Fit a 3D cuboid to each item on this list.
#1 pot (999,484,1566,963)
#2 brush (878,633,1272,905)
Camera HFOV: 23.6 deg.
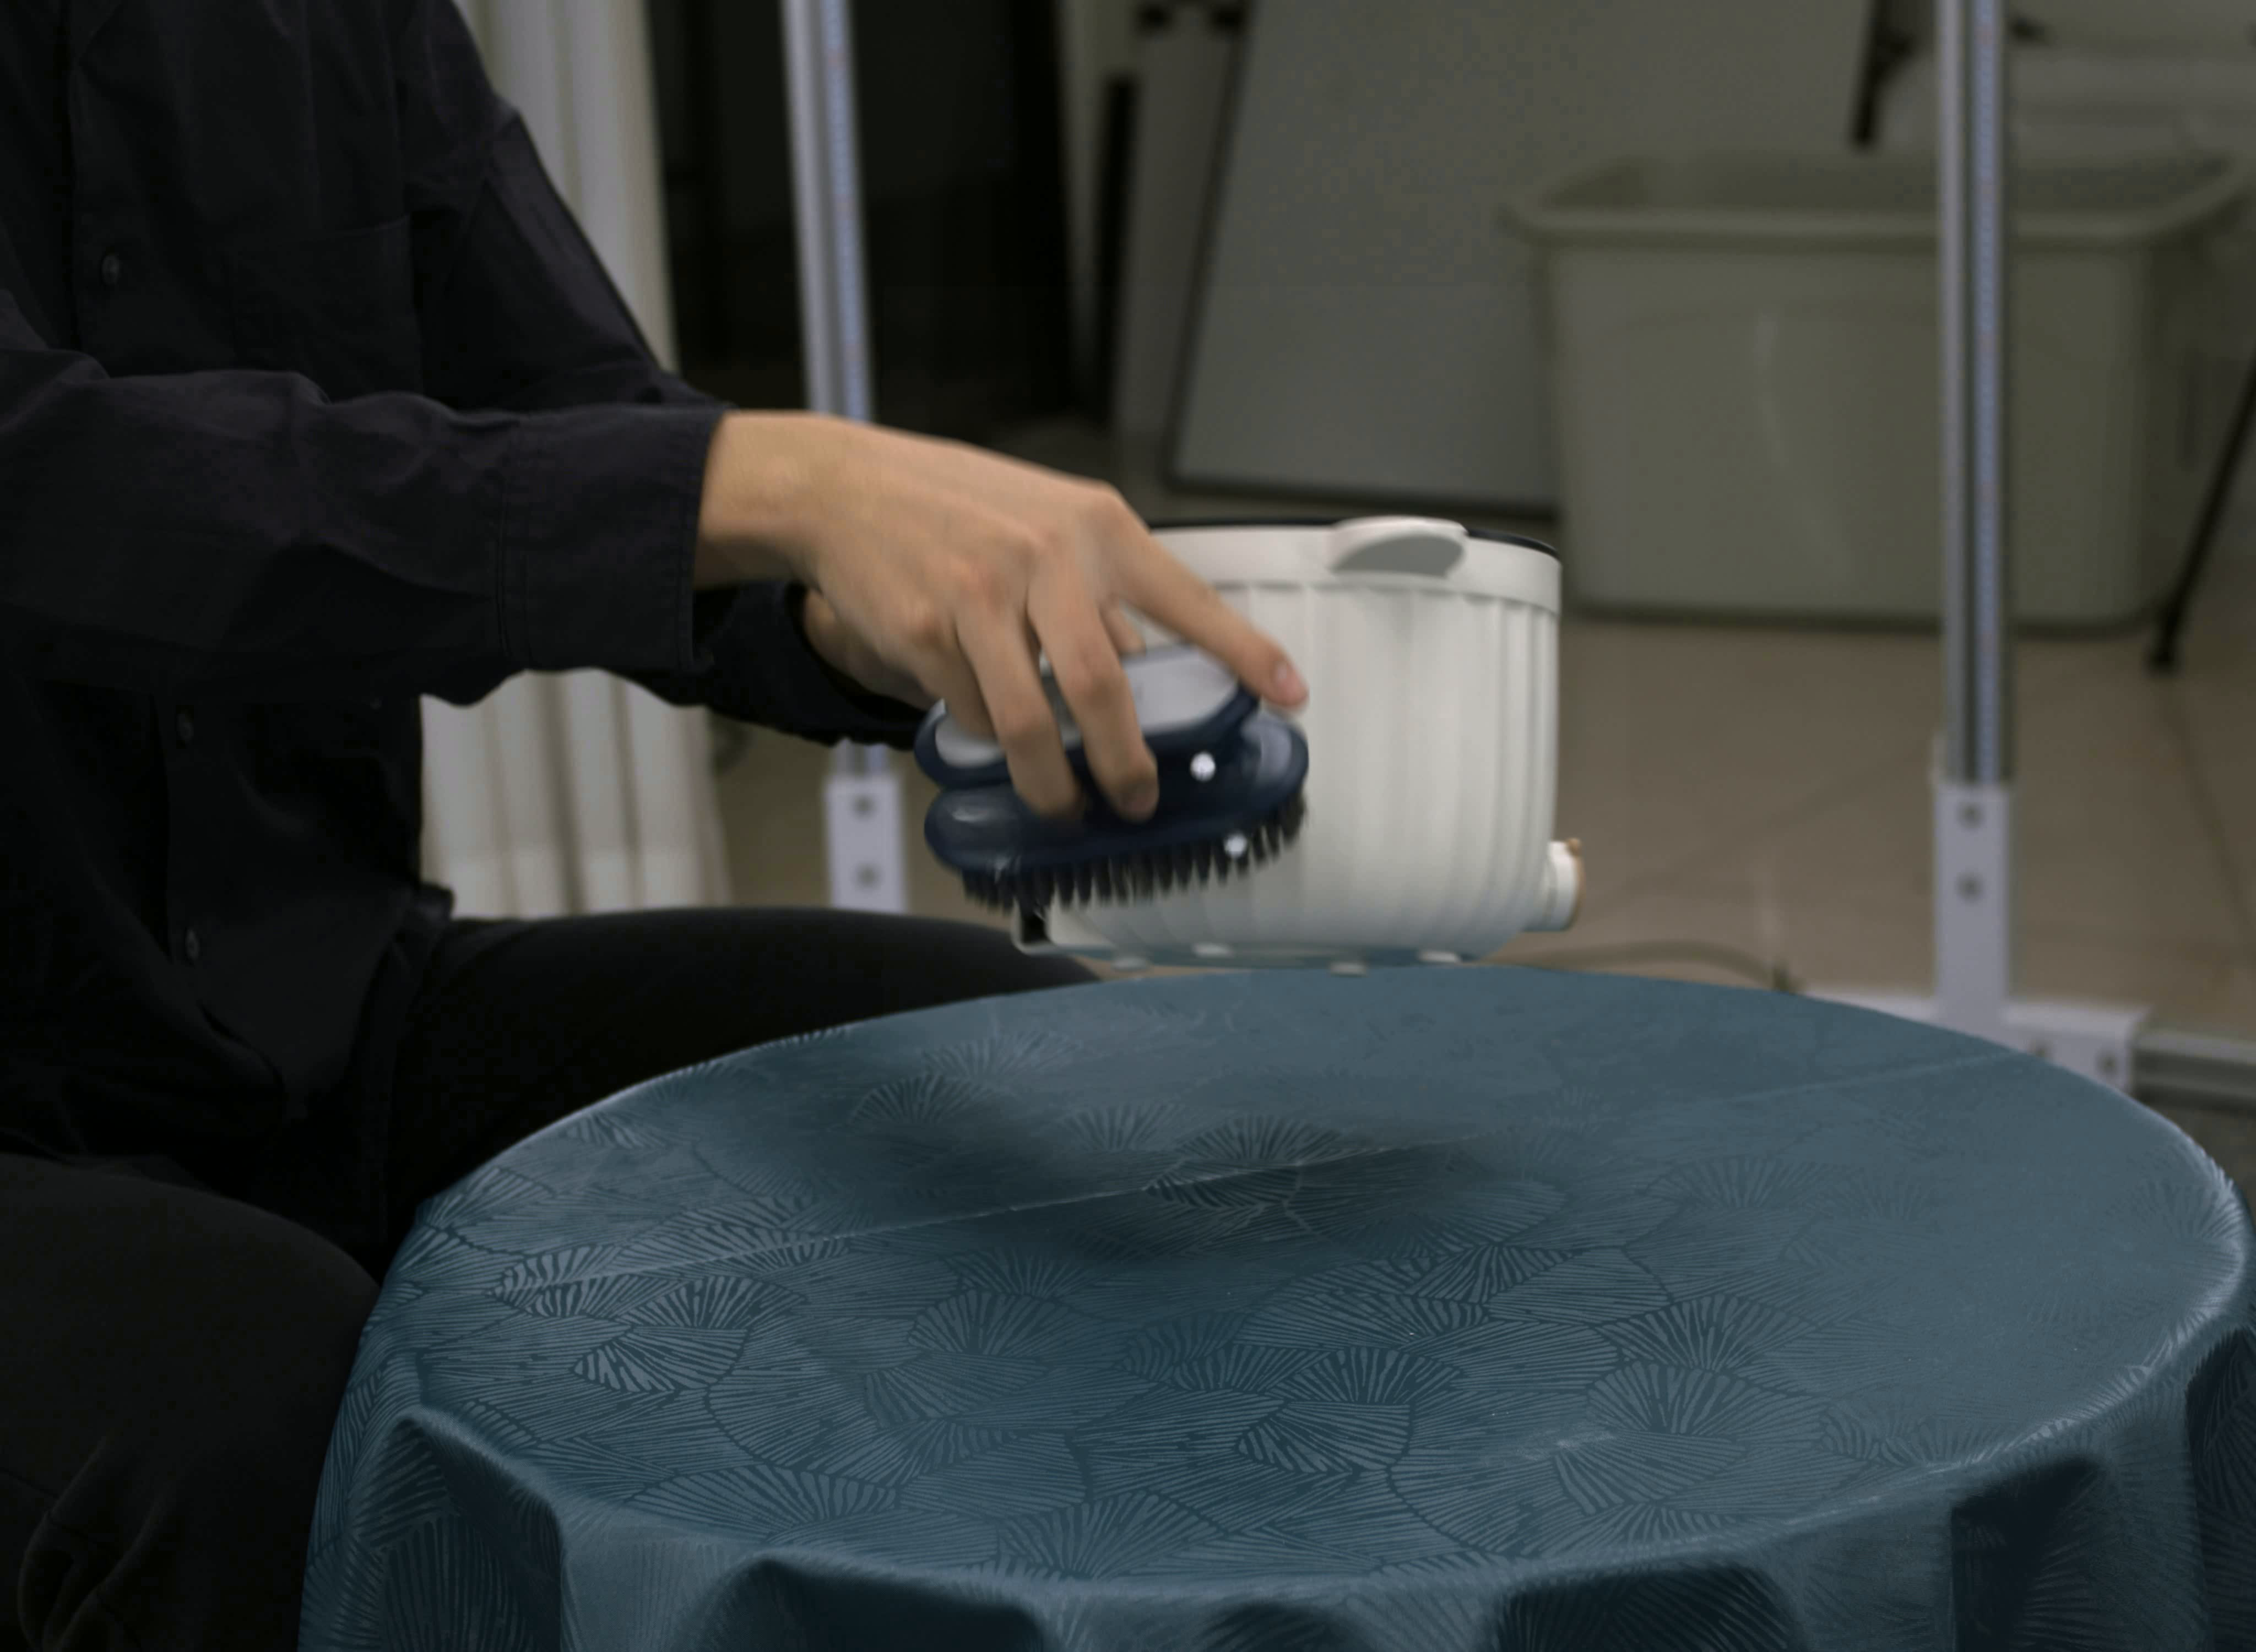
[{"bbox_3d":[0.052,-0.029,1.776,0.186,0.144,0.242,0,-5,-20],"label":"pot"},{"bbox_3d":[-0.015,-0.015,1.623,0.121,0.061,0.068,-6,34,17],"label":"brush"}]
